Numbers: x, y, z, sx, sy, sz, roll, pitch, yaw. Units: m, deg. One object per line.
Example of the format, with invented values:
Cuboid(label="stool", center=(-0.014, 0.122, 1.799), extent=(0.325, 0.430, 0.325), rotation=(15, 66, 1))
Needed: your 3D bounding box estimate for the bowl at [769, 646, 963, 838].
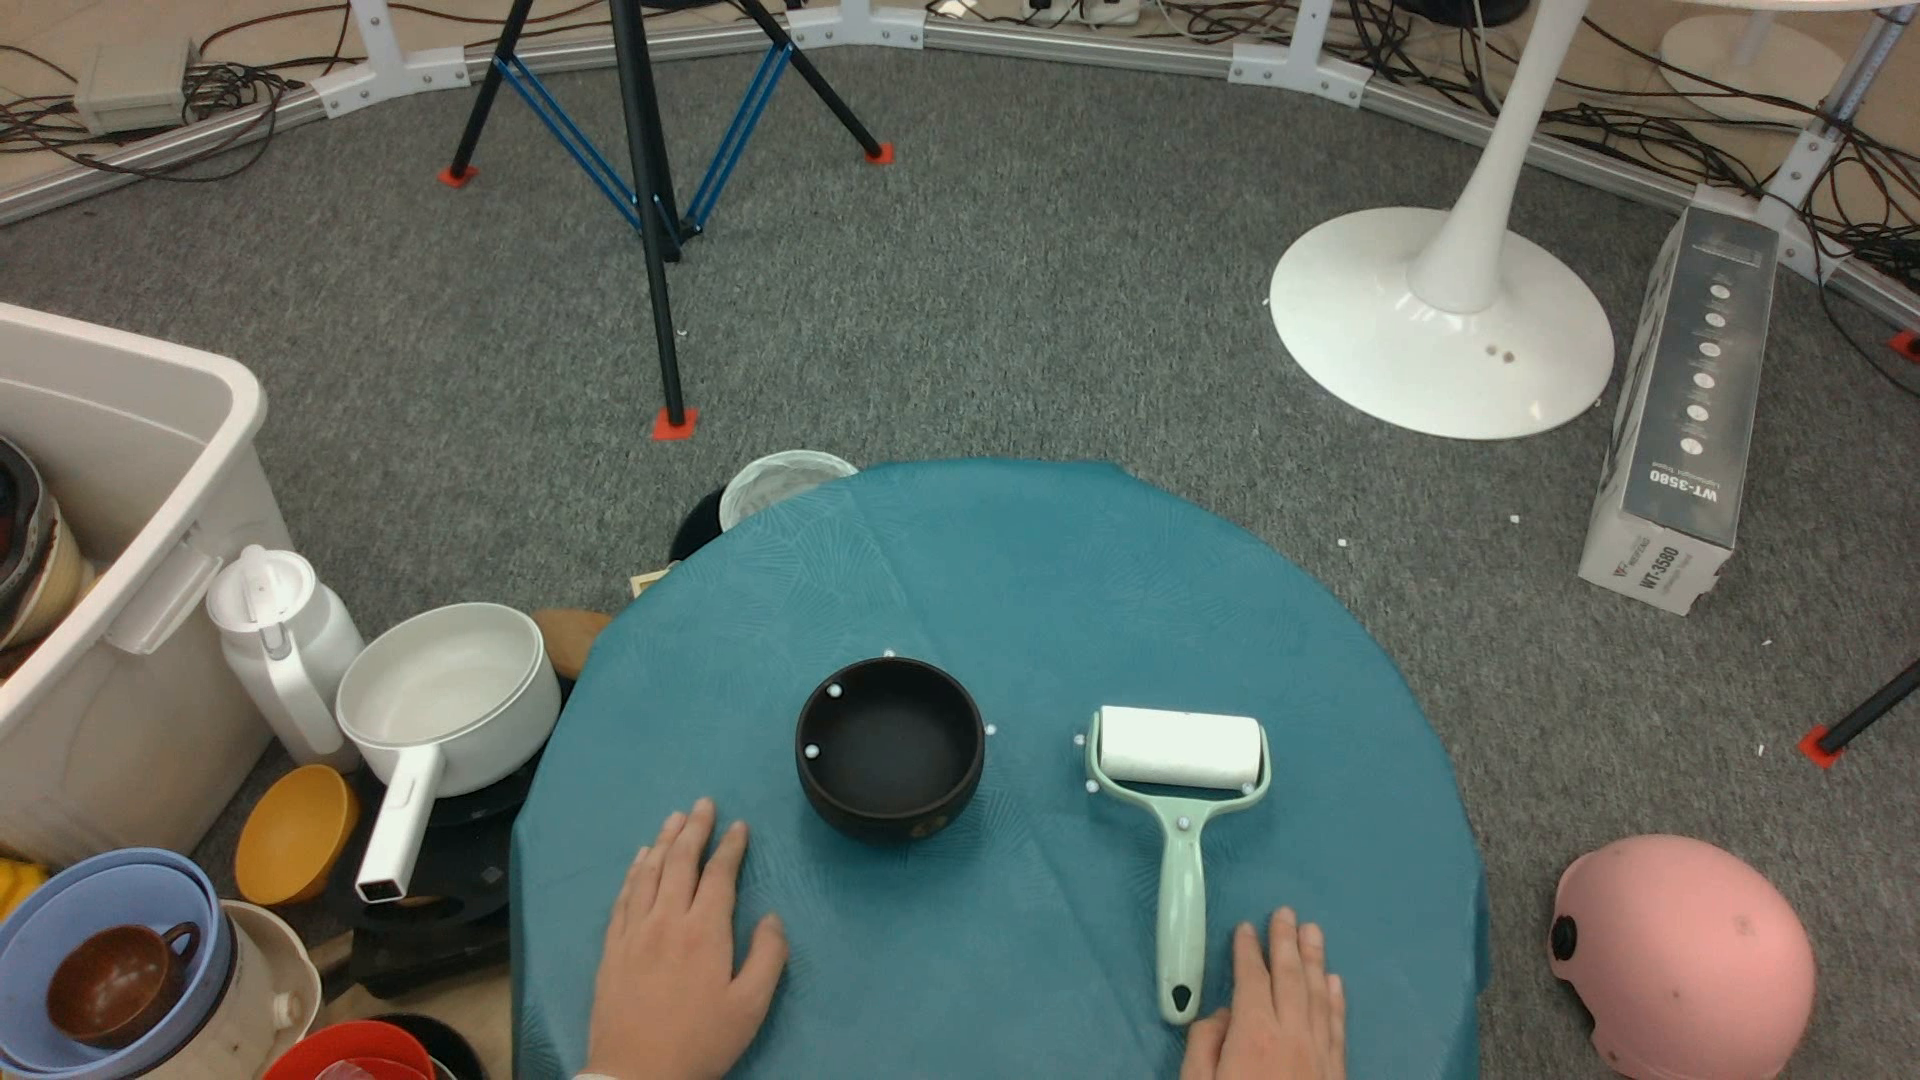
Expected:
Cuboid(label="bowl", center=(-0.059, 0.132, 0.857), extent=(0.118, 0.069, 0.118), rotation=(2, 53, -3))

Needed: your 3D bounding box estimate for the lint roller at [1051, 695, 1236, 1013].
Cuboid(label="lint roller", center=(0.113, 0.185, 0.844), extent=(0.116, 0.048, 0.198), rotation=(5, 53, -1))
